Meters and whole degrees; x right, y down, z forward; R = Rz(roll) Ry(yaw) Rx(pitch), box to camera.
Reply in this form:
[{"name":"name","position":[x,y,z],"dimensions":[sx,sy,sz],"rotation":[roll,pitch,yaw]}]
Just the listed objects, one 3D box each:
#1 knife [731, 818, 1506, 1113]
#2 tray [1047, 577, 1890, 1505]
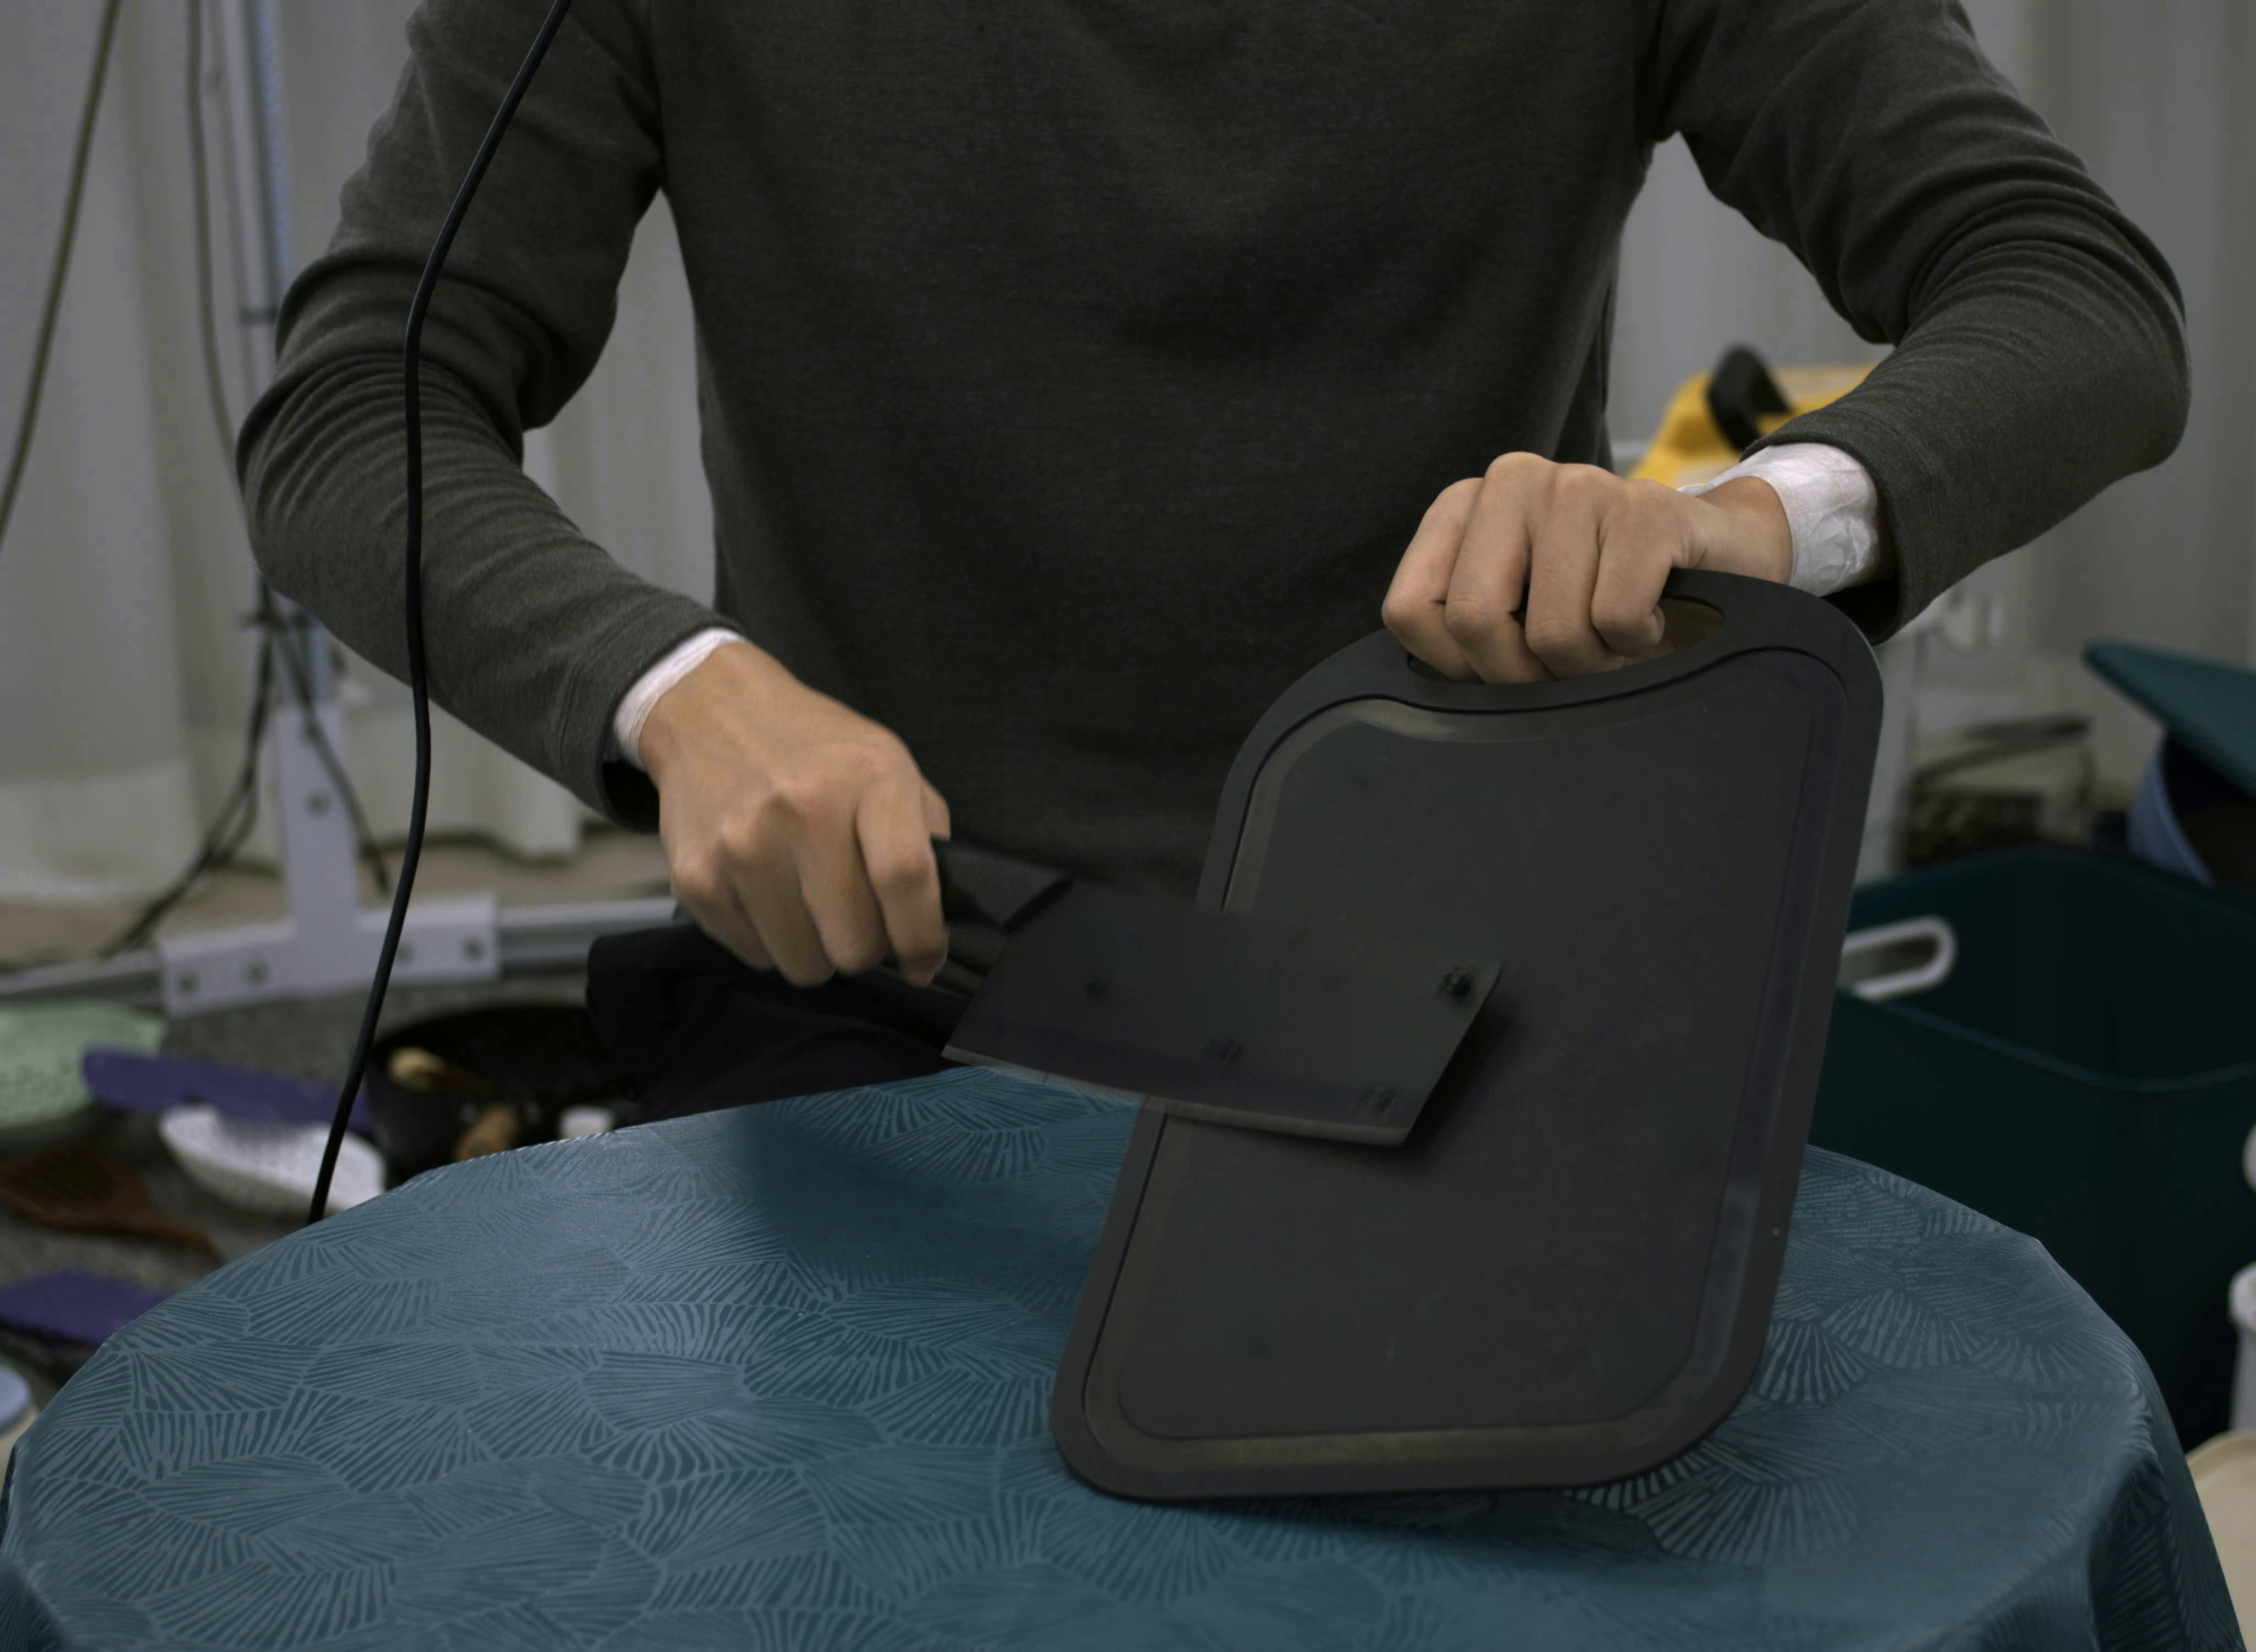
[{"name":"knife","position":[-0.014,0.038,1.622],"dimensions":[0.304,0.020,0.081],"rotation":[14,62,45]},{"name":"tray","position":[0.098,0.052,1.532],"dimensions":[0.211,0.009,0.330],"rotation":[-5,47,27]}]
